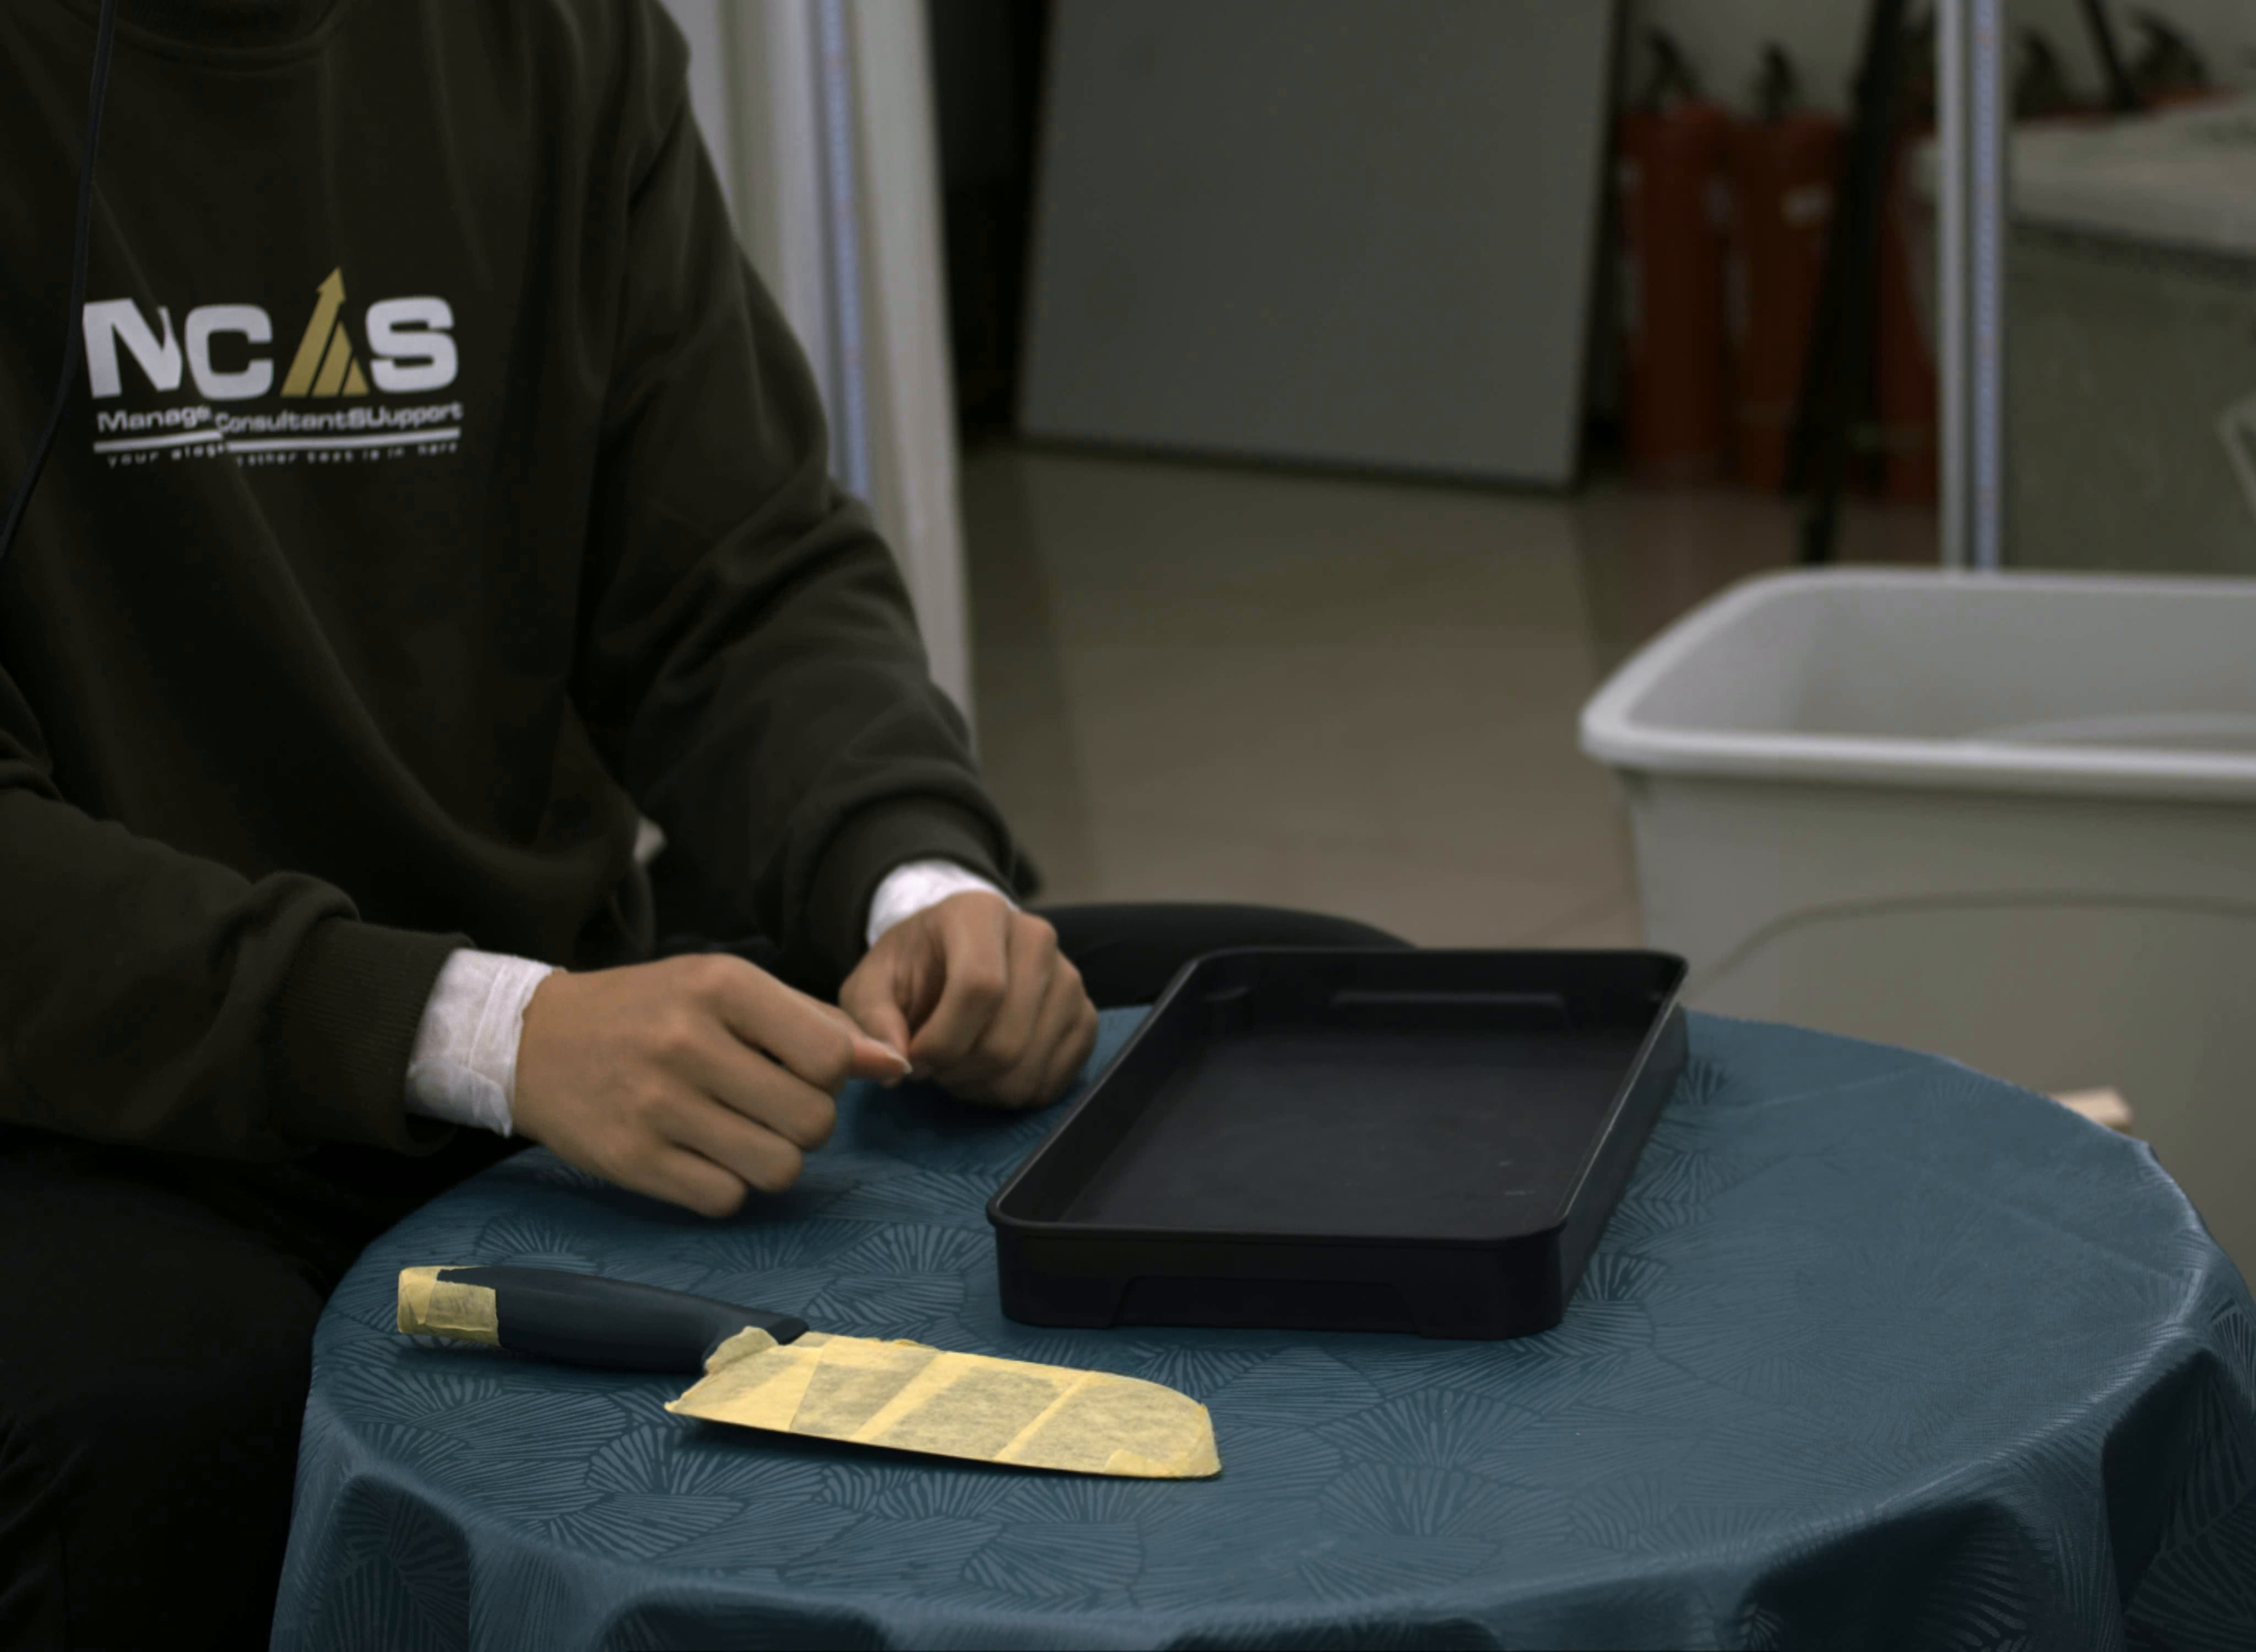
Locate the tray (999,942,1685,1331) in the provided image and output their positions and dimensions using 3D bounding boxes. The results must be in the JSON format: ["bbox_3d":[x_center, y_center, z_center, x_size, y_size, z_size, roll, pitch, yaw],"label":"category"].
[{"bbox_3d":[0.079,0.098,1.772,0.183,0.037,0.316,-2,14,14],"label":"tray"}]

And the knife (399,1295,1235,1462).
[{"bbox_3d":[-0.099,0.165,1.591,0.290,0.027,0.080,4,14,27],"label":"knife"}]
